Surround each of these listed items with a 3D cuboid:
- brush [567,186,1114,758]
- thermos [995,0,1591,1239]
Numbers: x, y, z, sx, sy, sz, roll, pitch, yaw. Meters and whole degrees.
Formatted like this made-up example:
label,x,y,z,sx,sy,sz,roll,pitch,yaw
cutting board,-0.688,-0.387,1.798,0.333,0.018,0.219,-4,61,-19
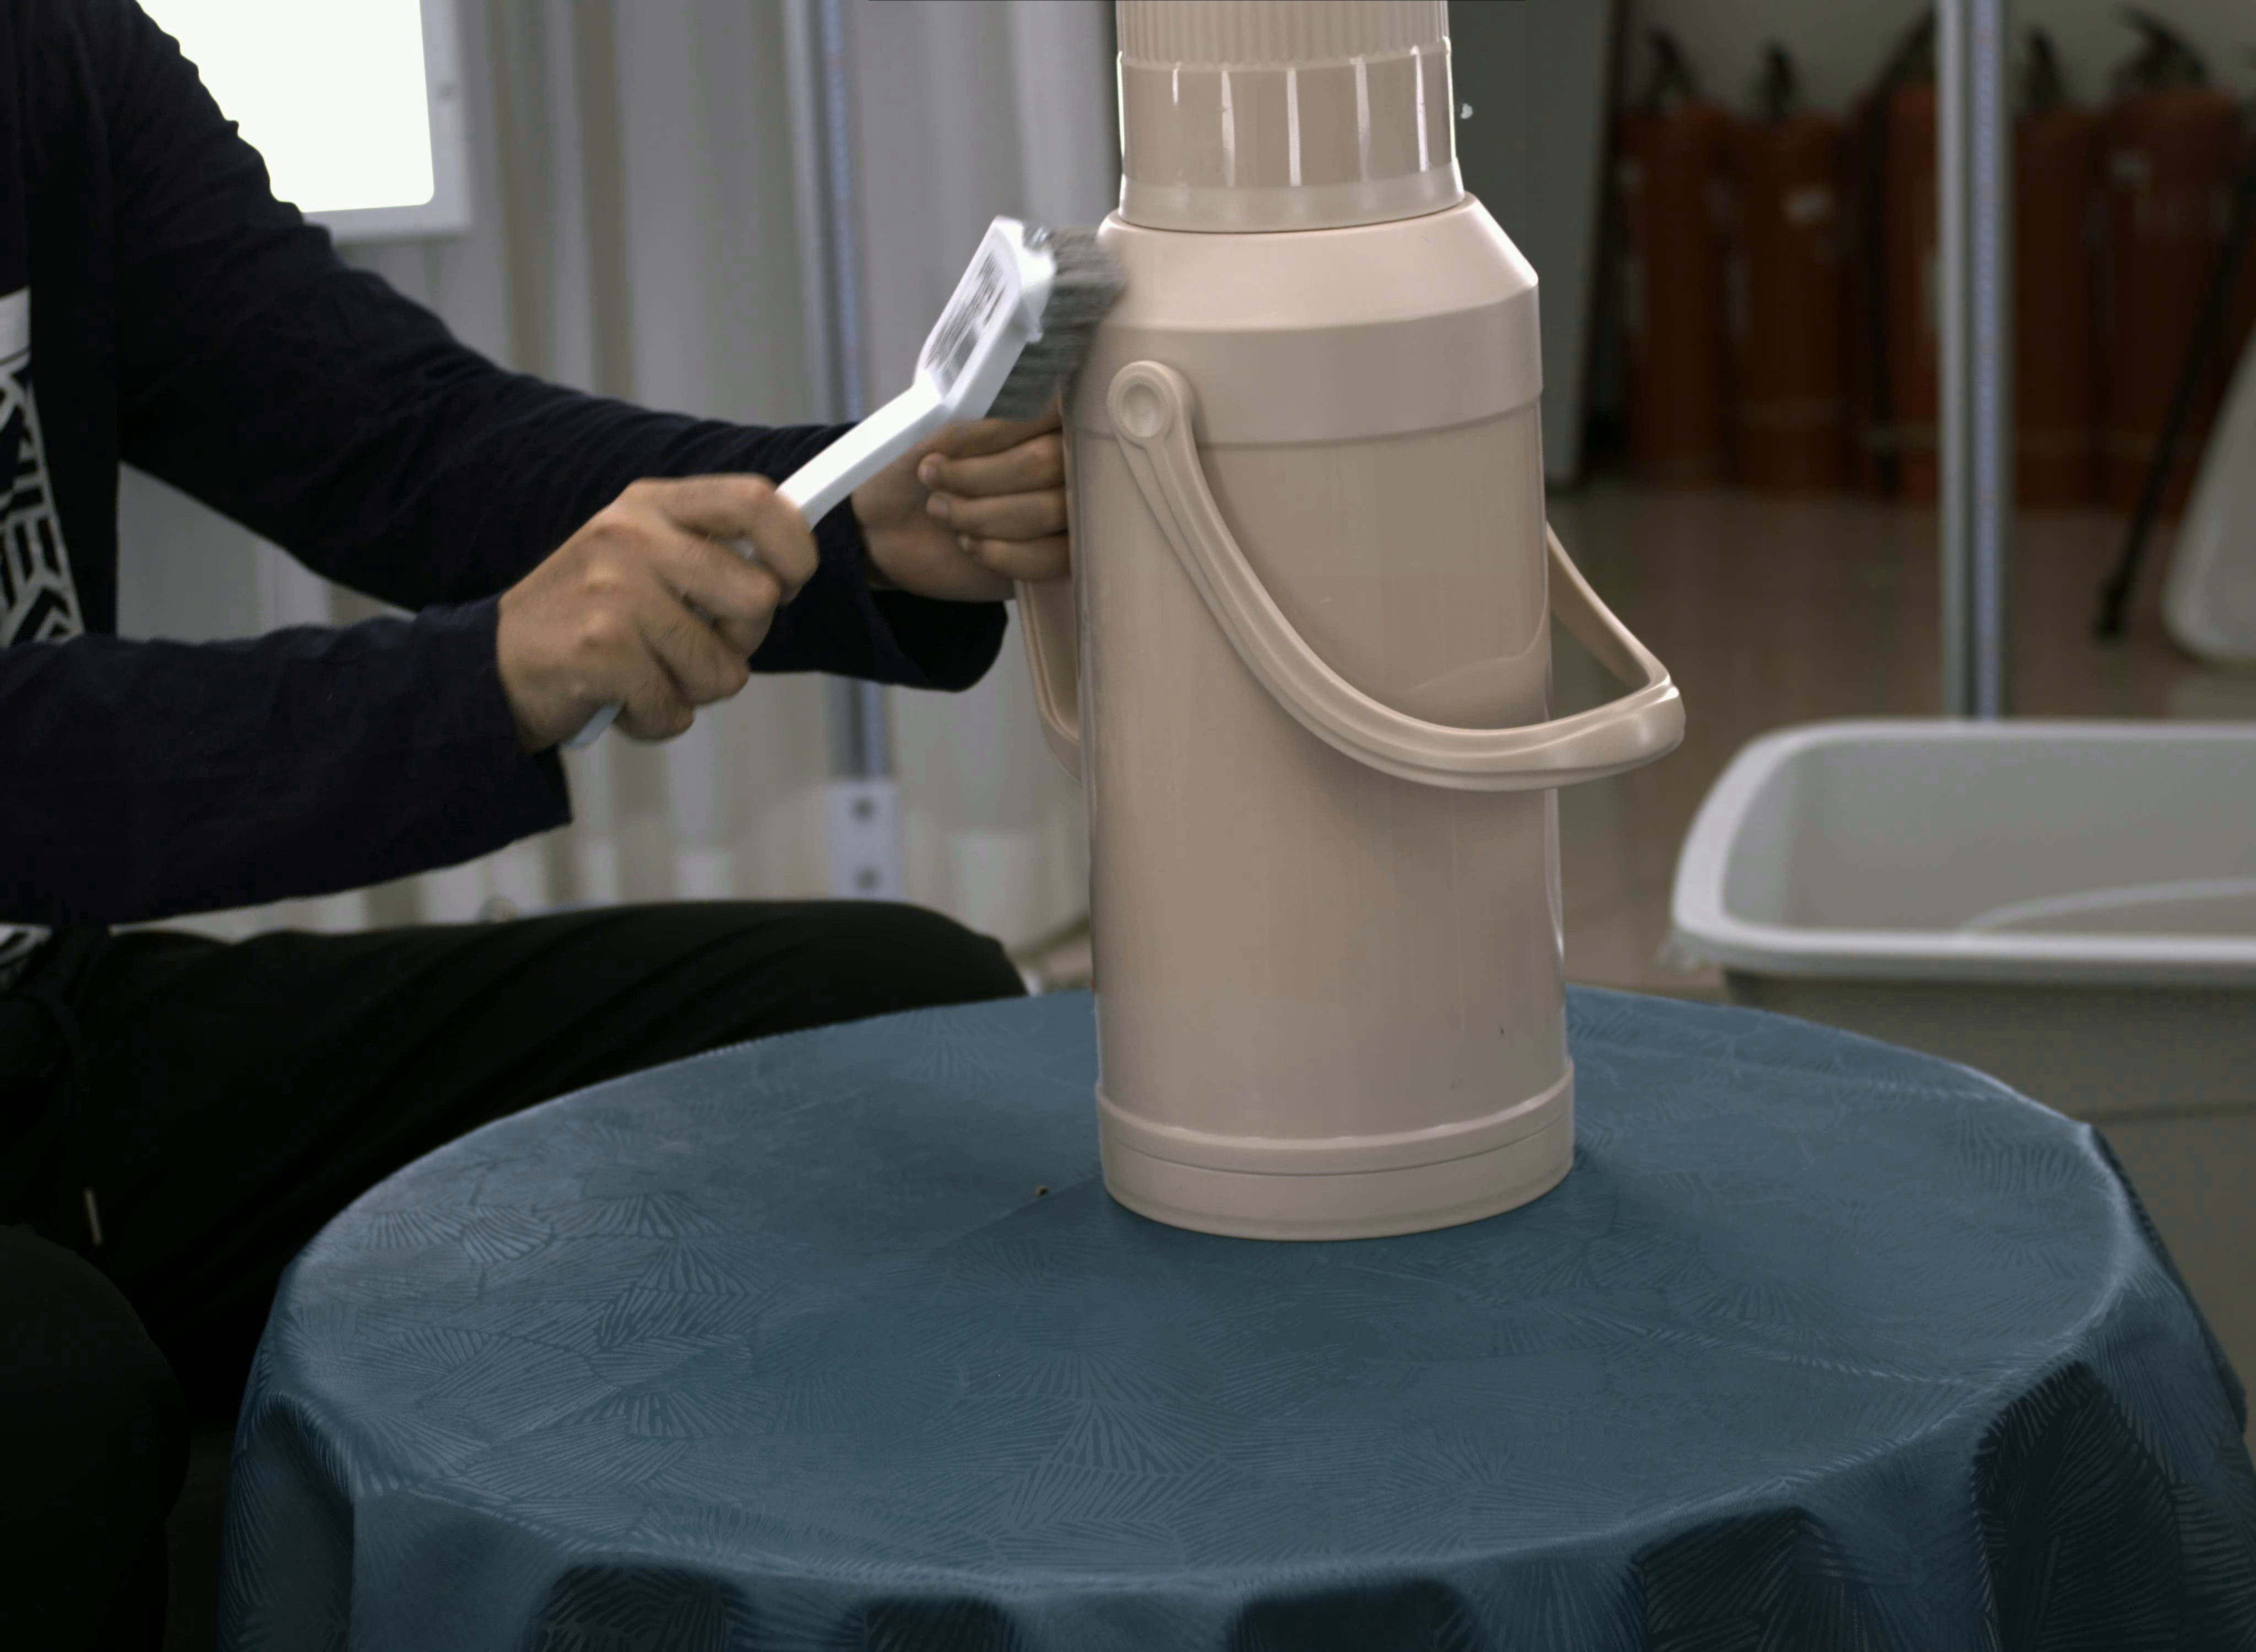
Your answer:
label,x,y,z,sx,sy,sz,roll,pitch,yaw
brush,-0.090,-0.106,1.712,0.049,0.245,0.035,21,28,-44
thermos,0.049,-0.082,1.751,0.208,0.410,0.172,5,18,35
